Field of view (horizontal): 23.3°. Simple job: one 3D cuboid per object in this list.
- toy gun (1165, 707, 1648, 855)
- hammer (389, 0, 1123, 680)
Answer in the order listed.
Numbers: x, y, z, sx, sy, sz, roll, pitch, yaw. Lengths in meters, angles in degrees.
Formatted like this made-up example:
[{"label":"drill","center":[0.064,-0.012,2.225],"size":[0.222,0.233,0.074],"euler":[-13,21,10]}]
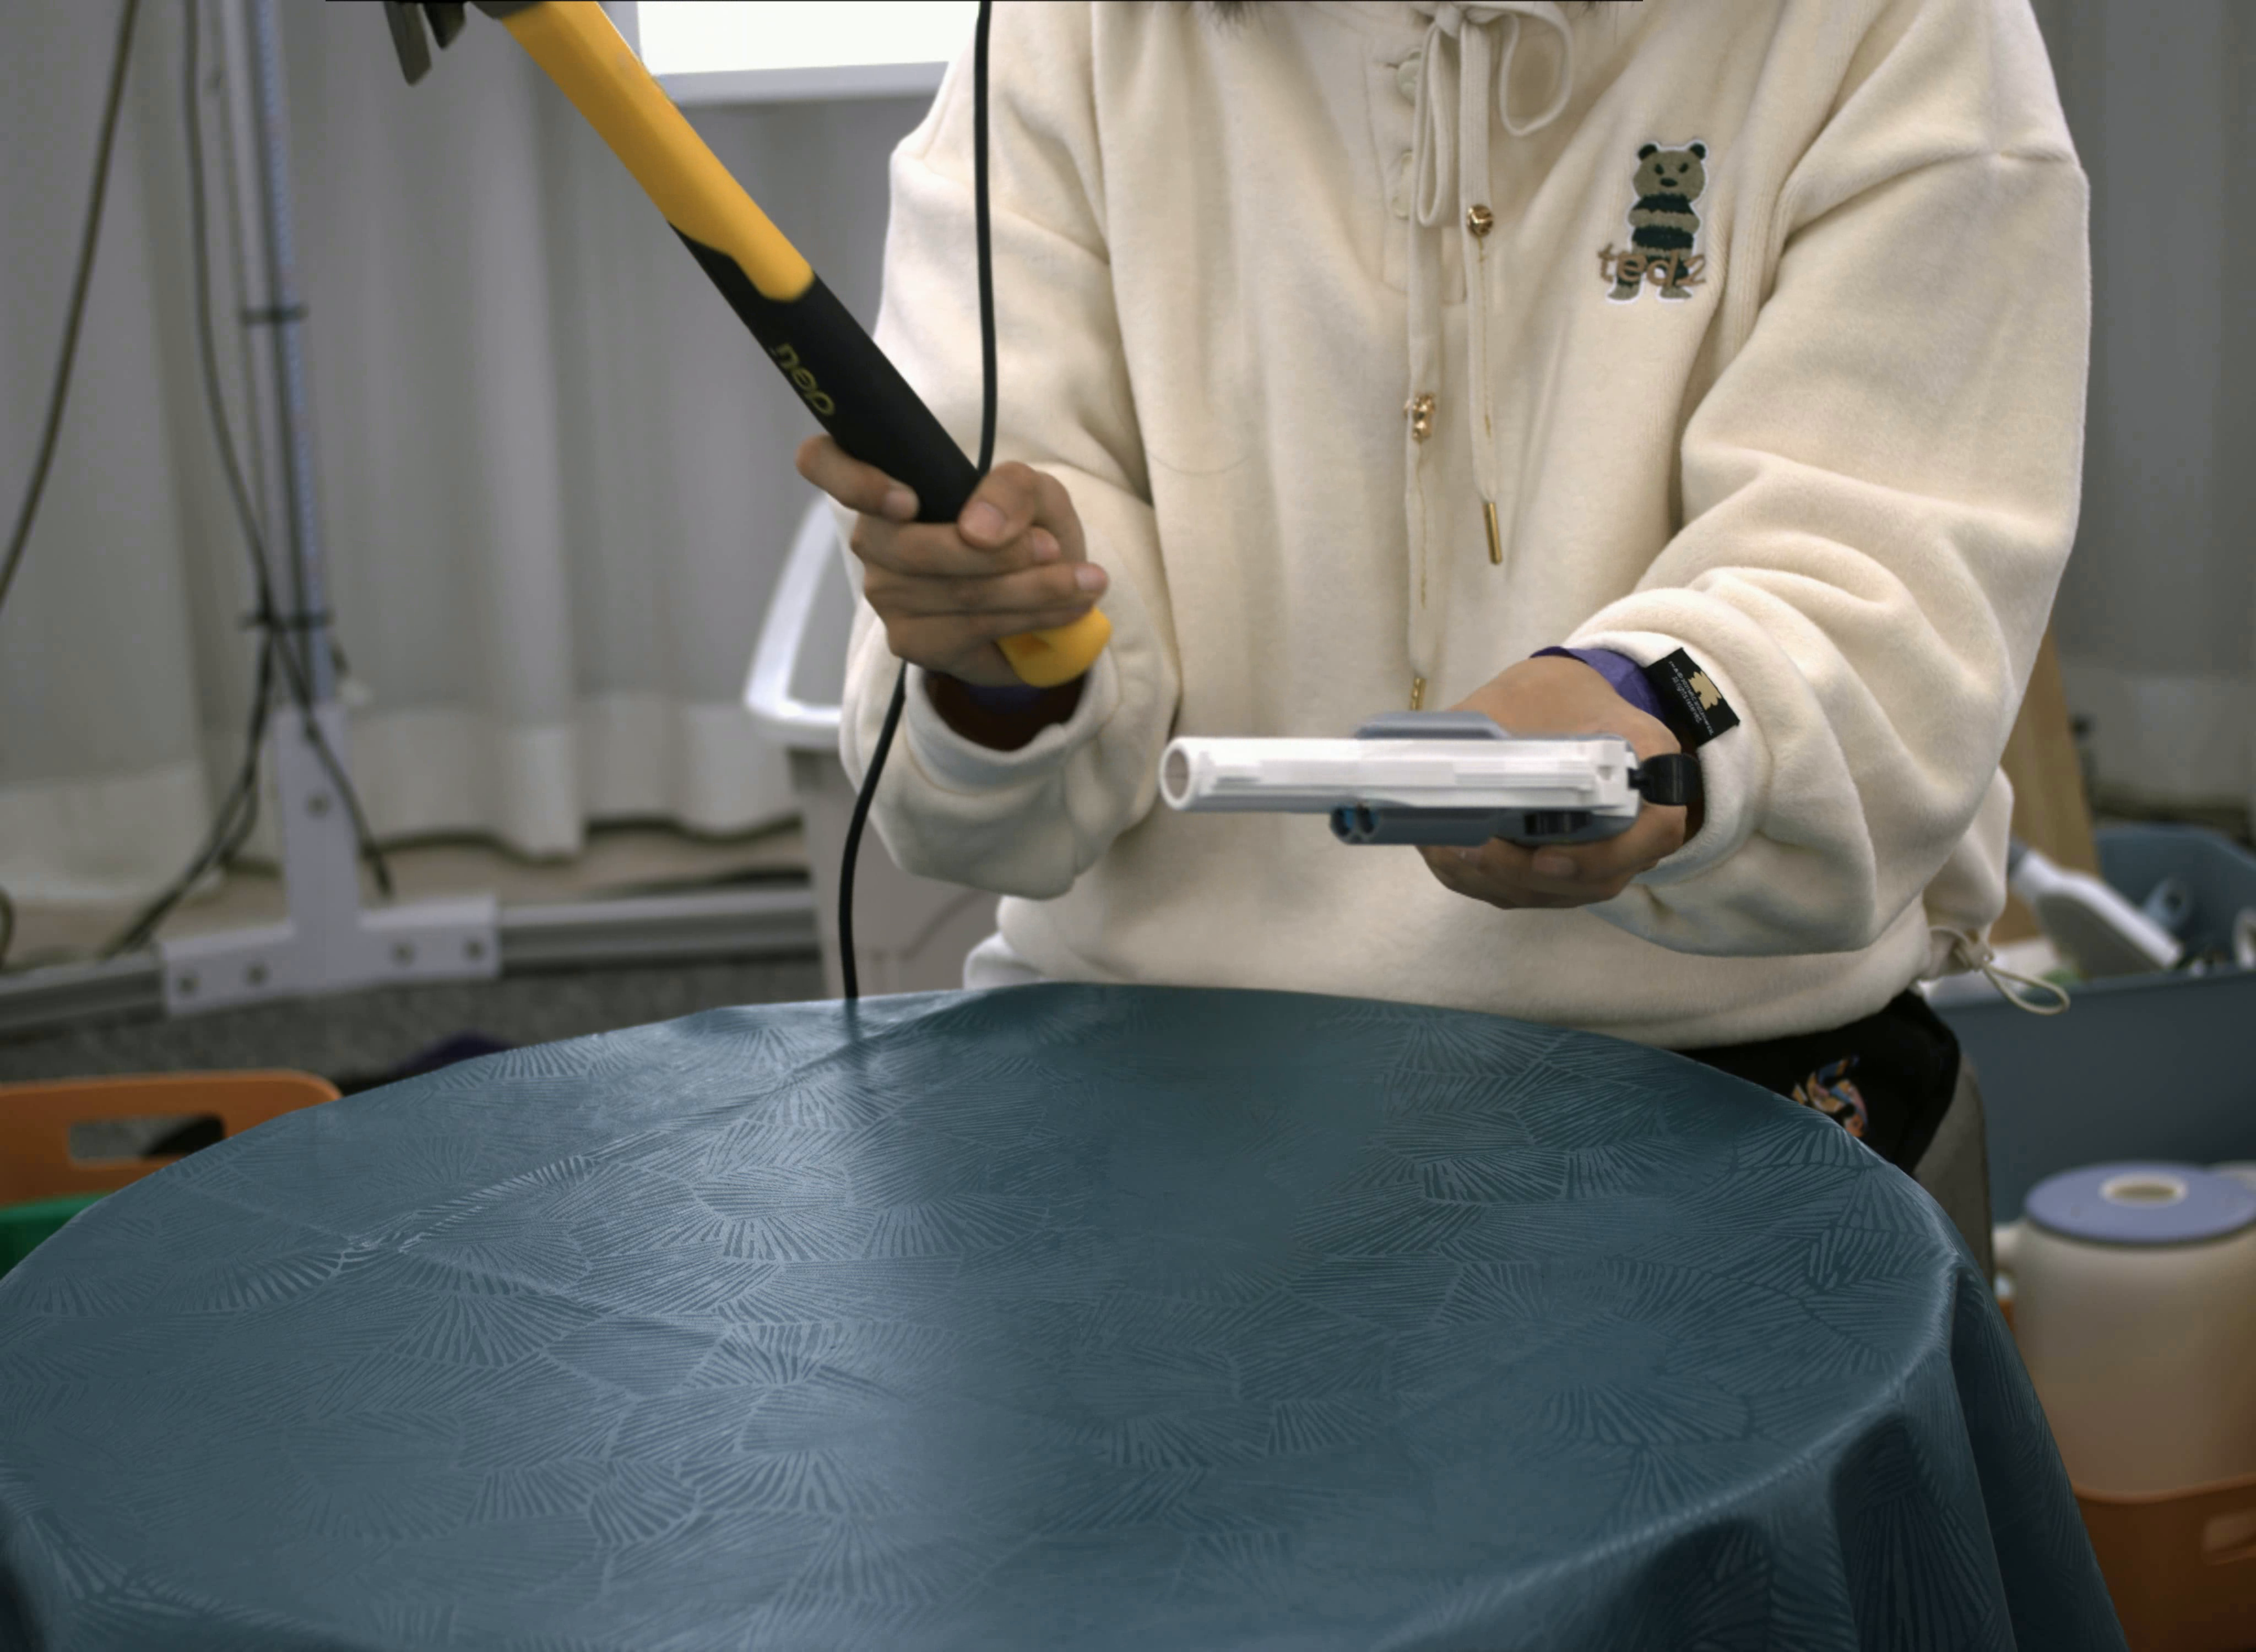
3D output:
[{"label":"toy gun","center":[0.077,-0.013,1.565],"size":[0.207,0.039,0.142],"euler":[2,-2,-32]},{"label":"hammer","center":[-0.112,-0.175,1.752],"size":[0.131,0.335,0.032],"euler":[-13,35,48]}]
